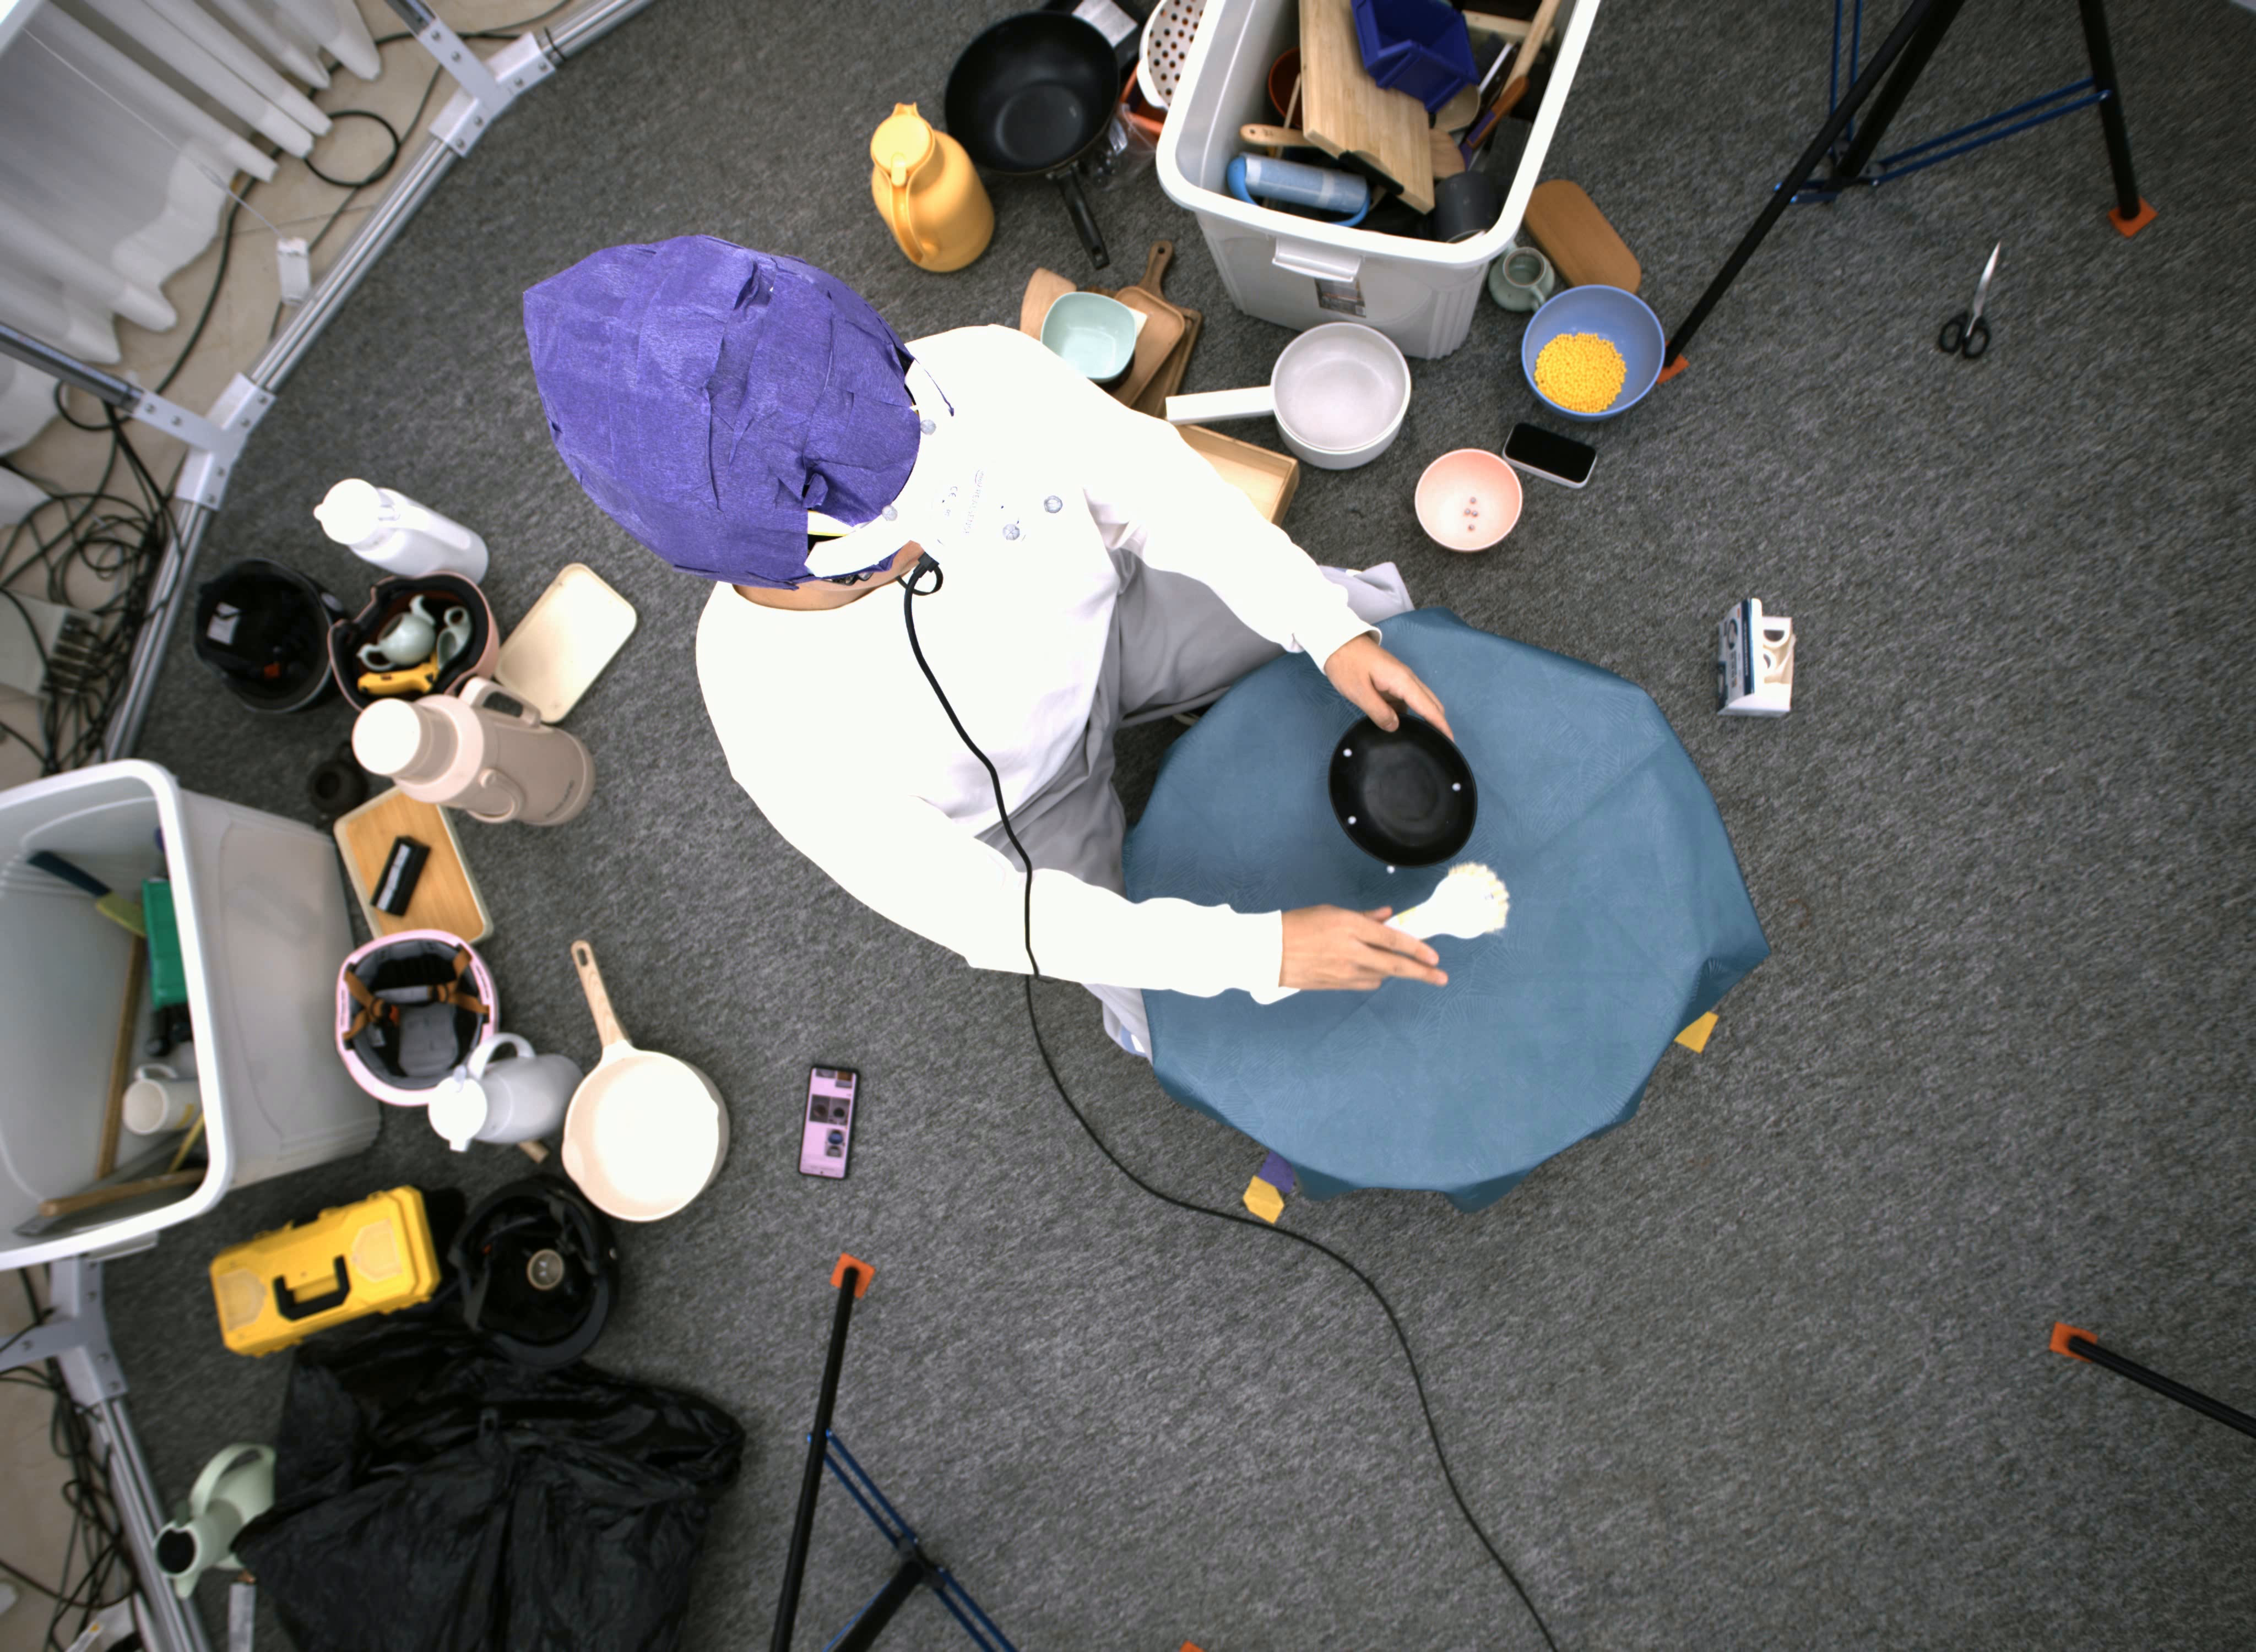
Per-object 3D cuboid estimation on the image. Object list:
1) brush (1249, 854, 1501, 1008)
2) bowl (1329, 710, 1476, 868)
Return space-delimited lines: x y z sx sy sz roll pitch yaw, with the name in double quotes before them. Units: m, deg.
"brush" 0.237 0.106 1.340 0.270 0.056 0.068 -31 77 24
"bowl" 0.277 -0.035 1.375 0.139 0.066 0.168 -41 69 16
